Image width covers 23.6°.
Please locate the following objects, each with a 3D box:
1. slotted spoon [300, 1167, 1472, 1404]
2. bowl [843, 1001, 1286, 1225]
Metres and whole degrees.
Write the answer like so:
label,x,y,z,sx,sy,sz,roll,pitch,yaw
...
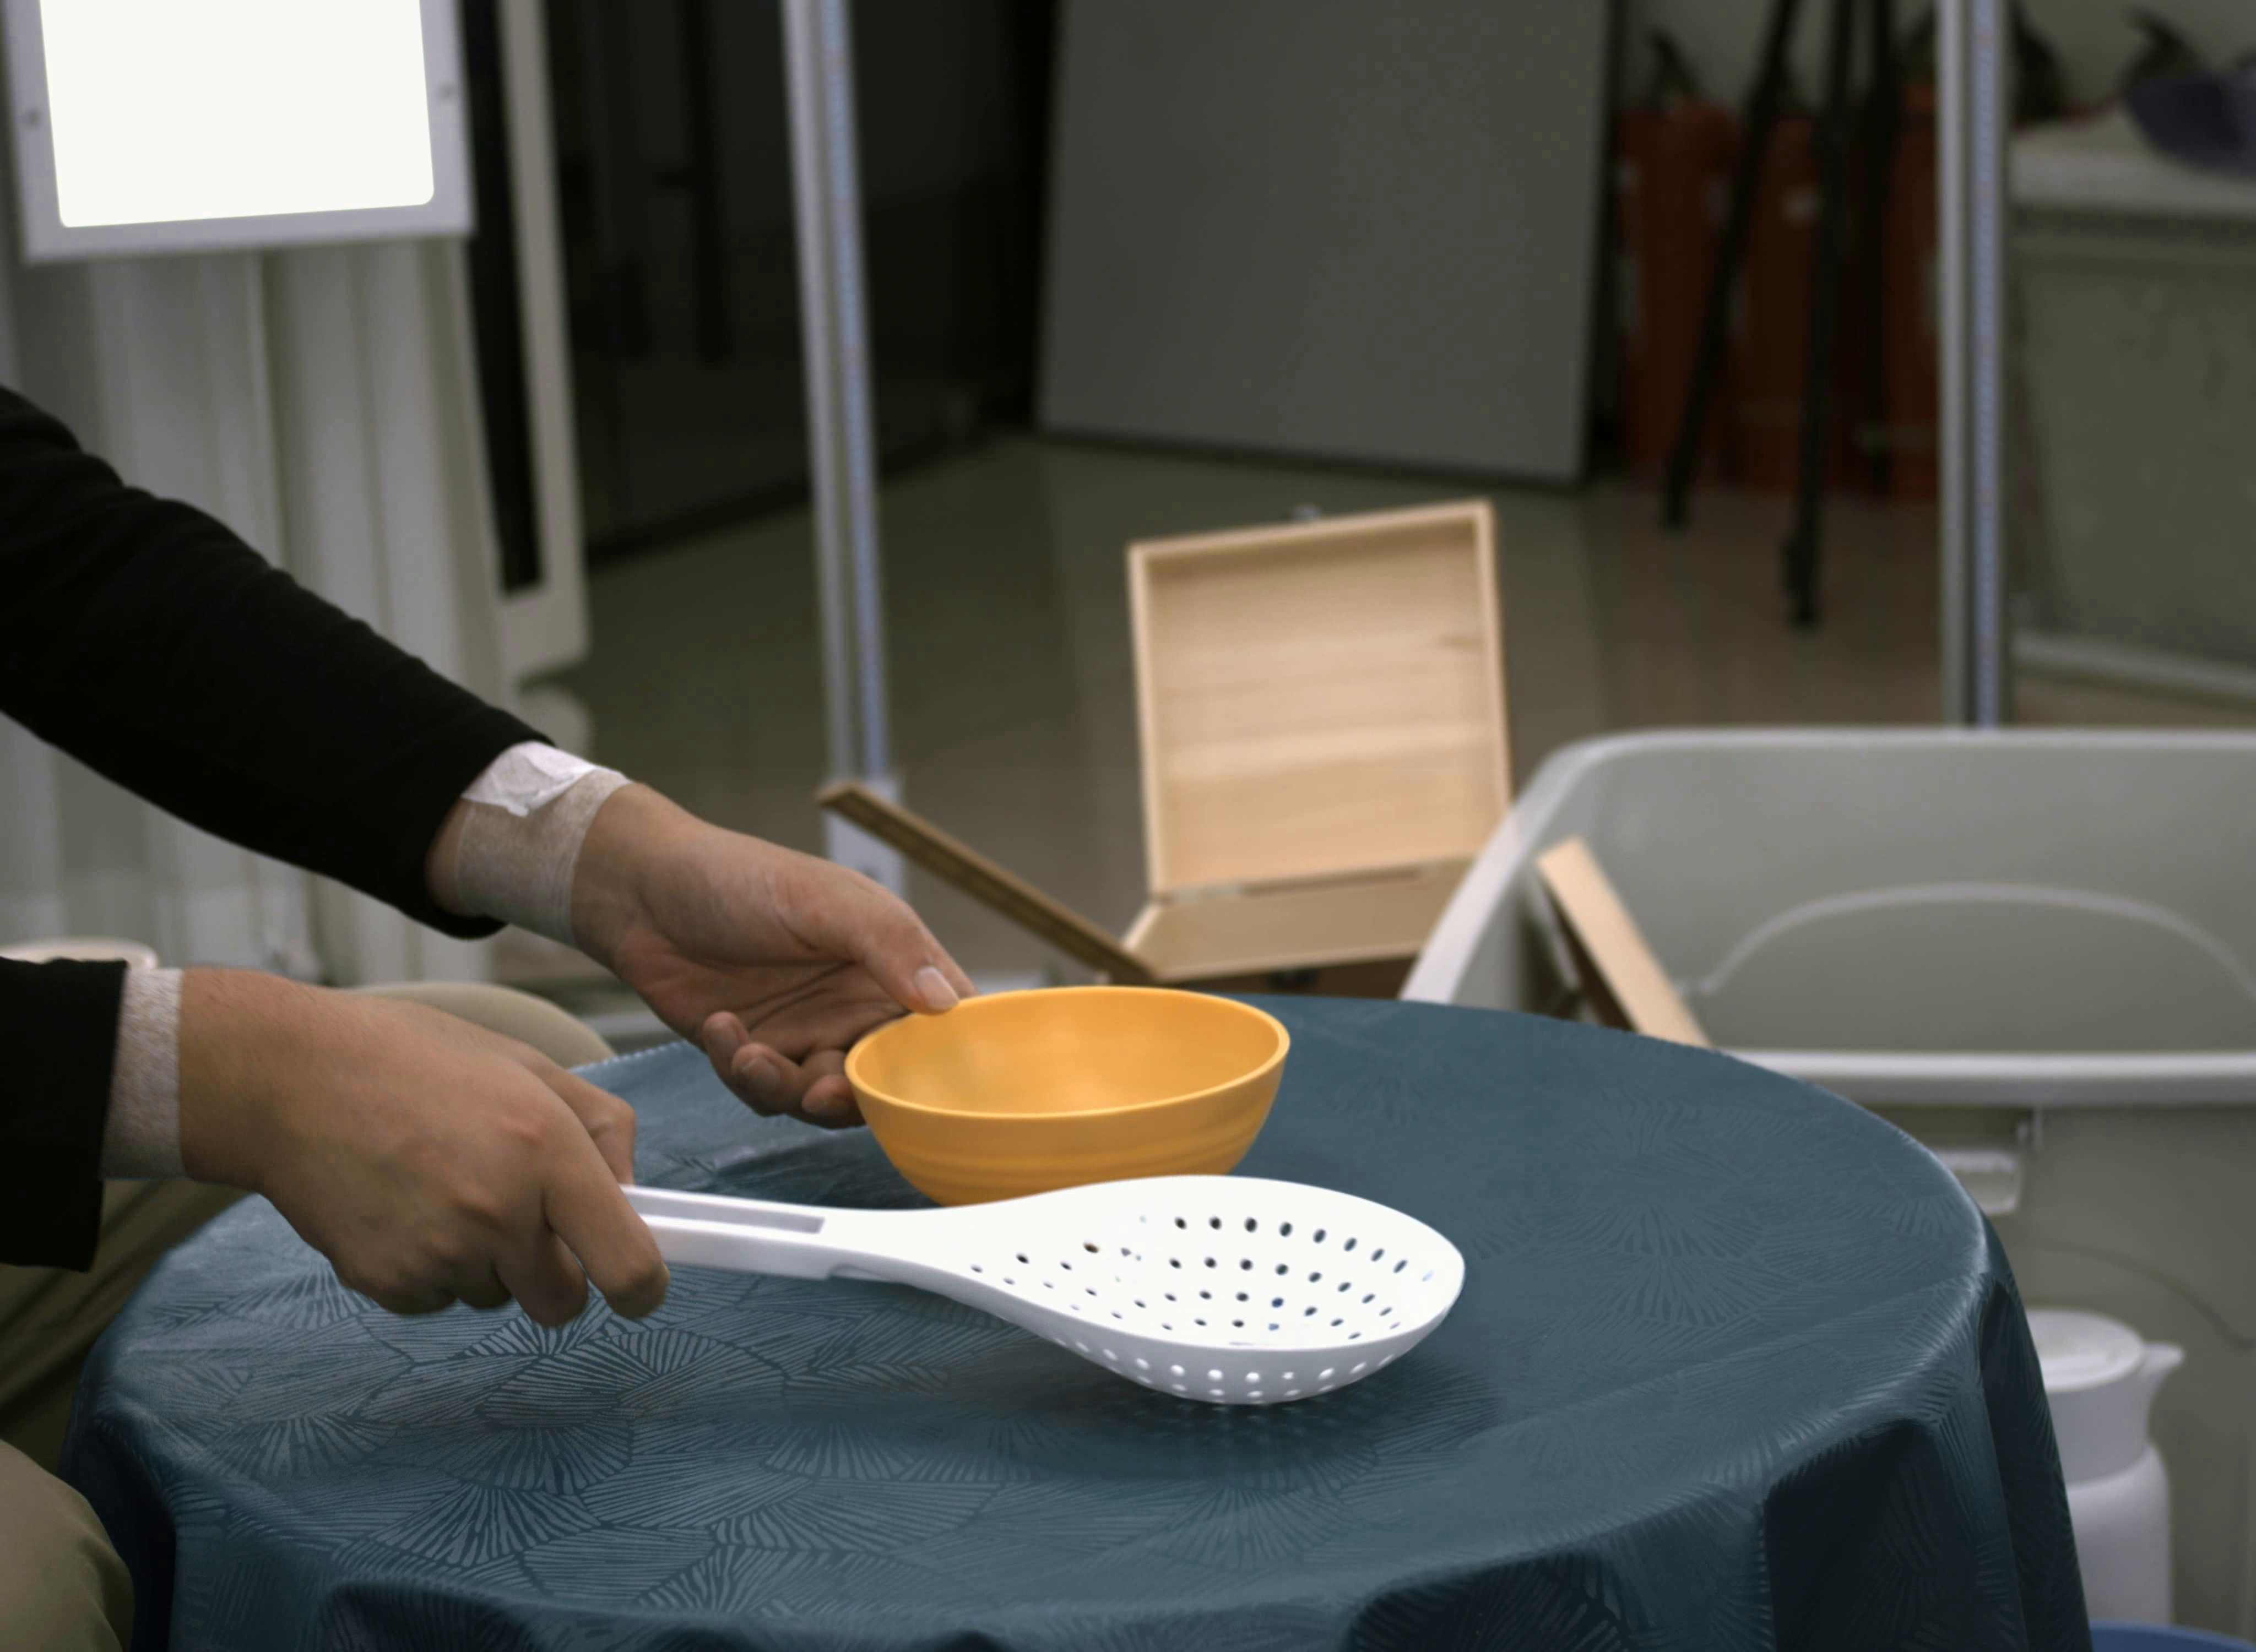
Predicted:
label,x,y,z,sx,sy,sz,roll,pitch,yaw
slotted spoon,-0.073,0.125,1.587,0.346,0.046,0.135,9,17,6
bowl,-0.019,0.101,1.738,0.143,0.061,0.145,-3,12,0
